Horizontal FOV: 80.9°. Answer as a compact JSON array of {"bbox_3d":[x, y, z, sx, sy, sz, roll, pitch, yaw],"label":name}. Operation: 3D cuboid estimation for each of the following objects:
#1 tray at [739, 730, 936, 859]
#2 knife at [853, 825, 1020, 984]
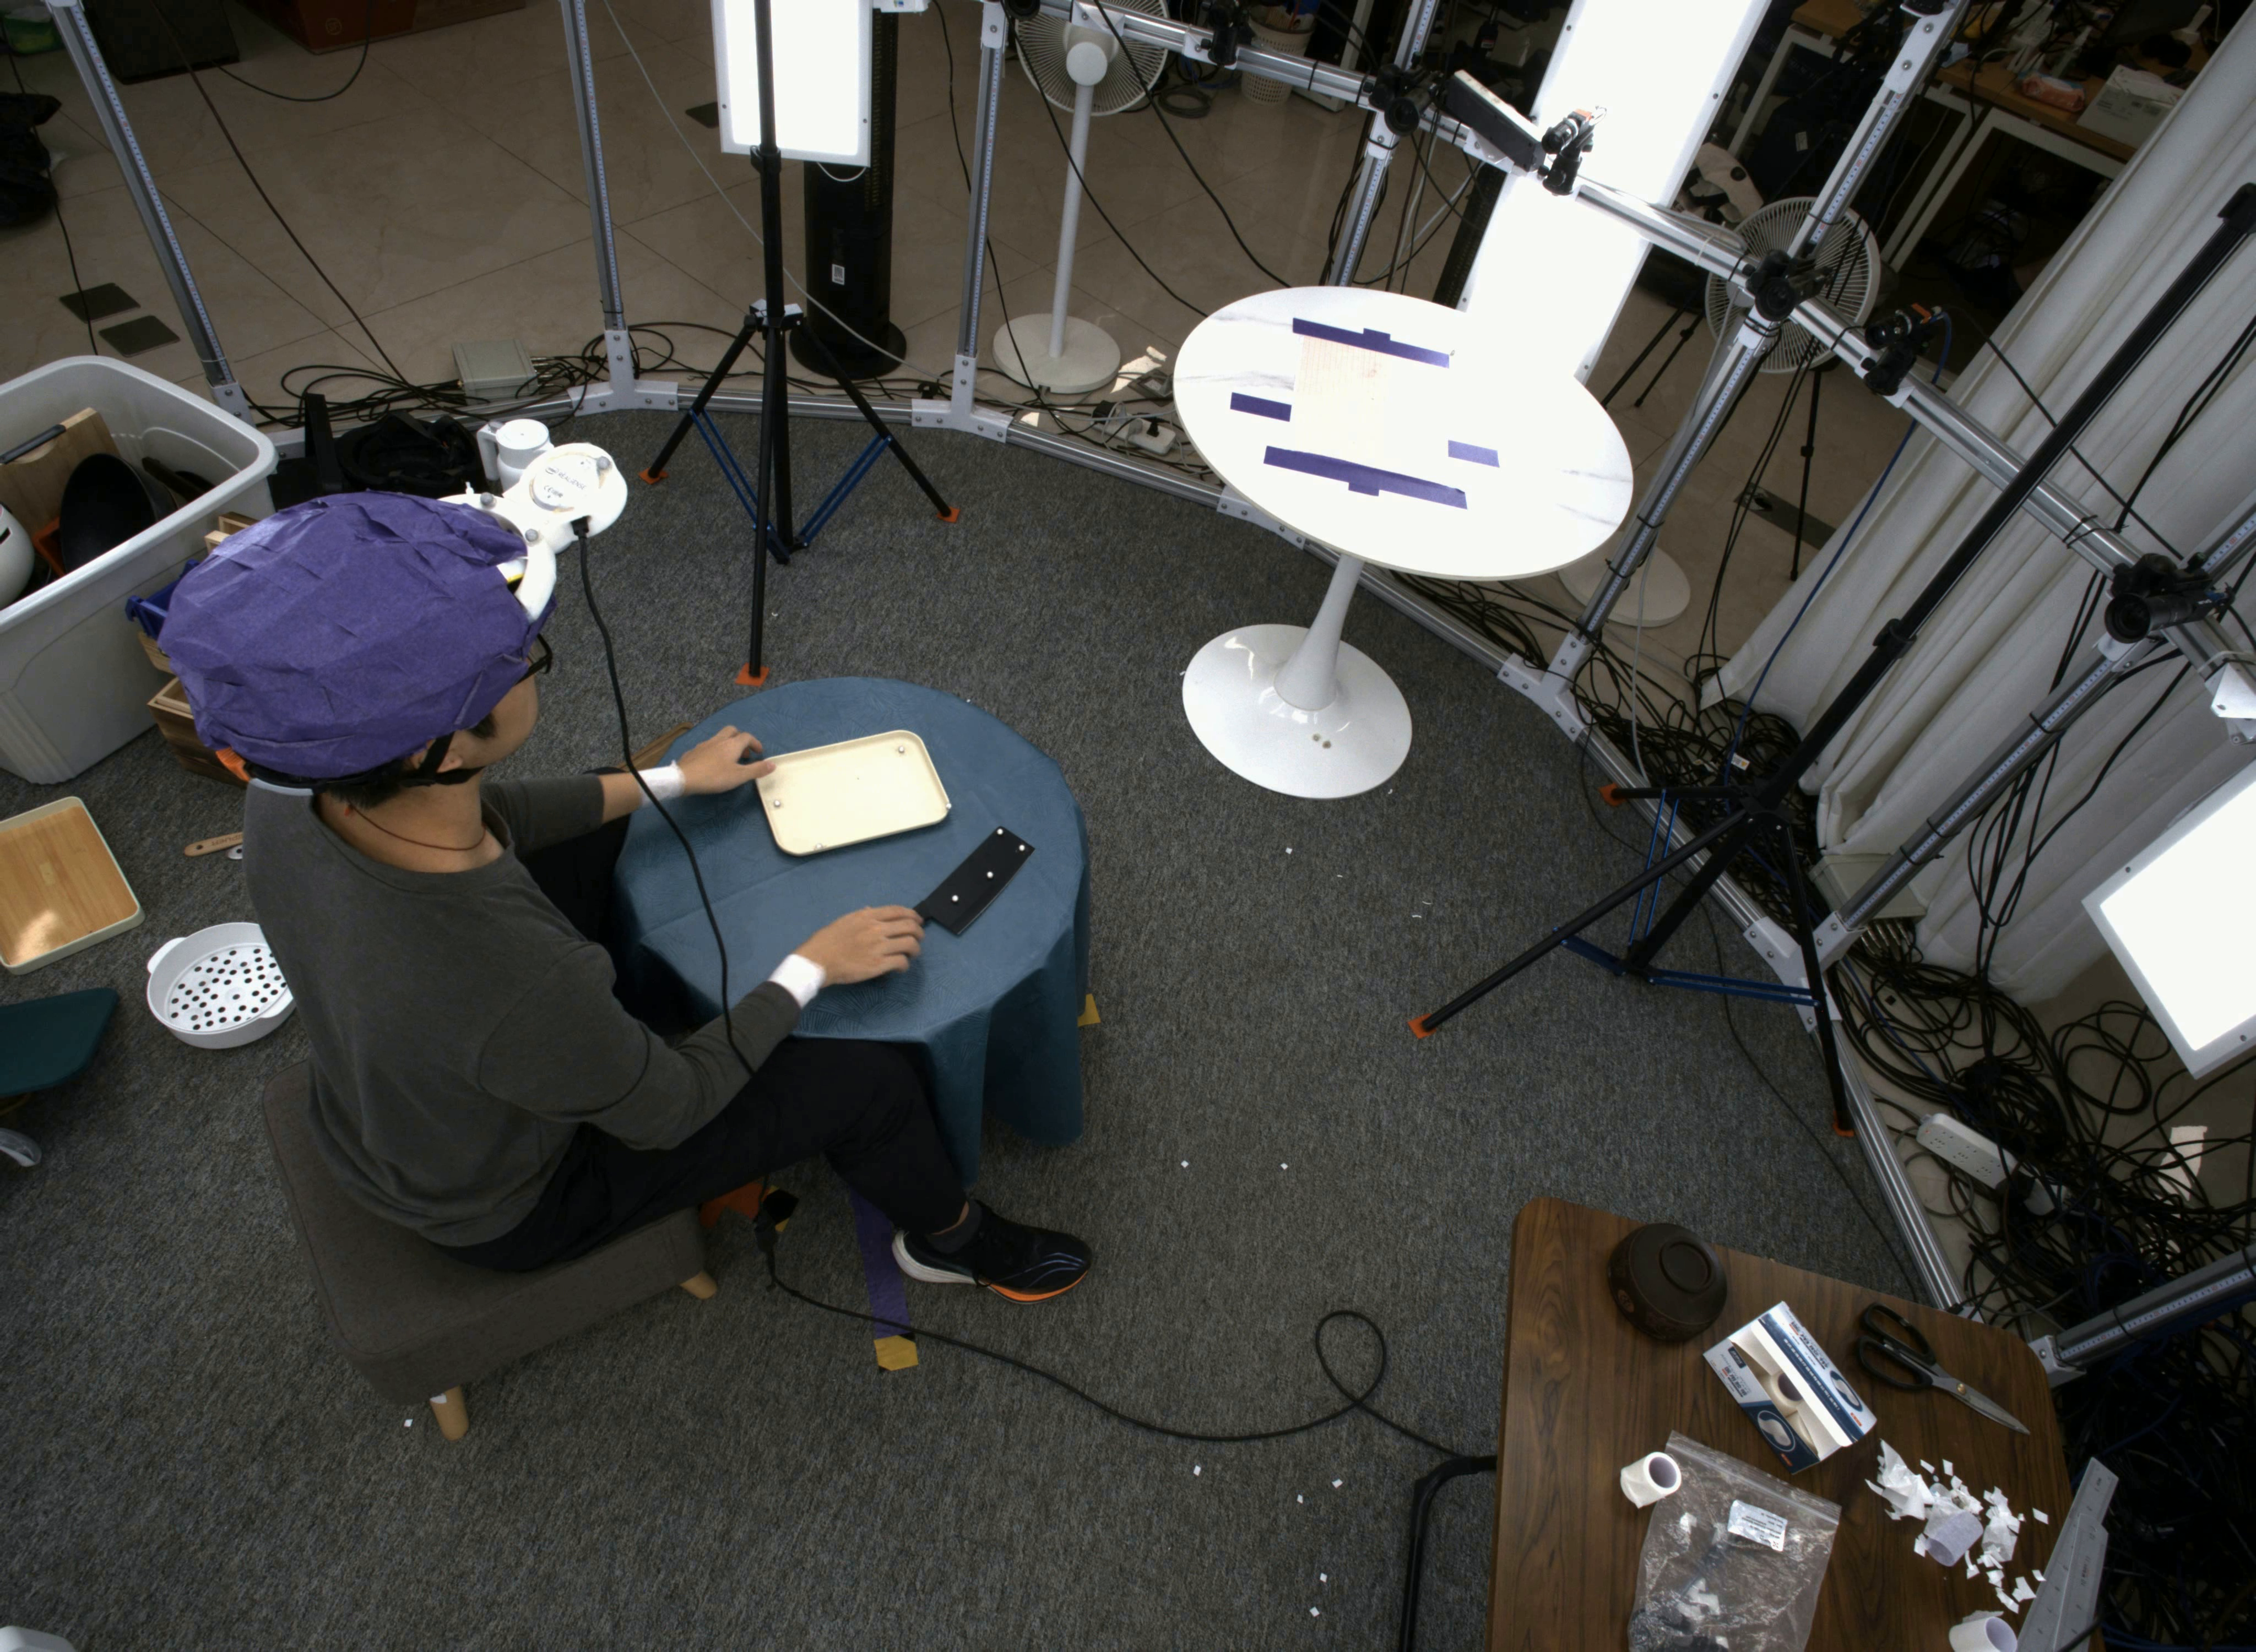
[{"bbox_3d":[-0.394,-0.044,1.764,0.241,0.018,0.167,-16,59,-24],"label":"tray"},{"bbox_3d":[-0.249,0.100,1.697,0.079,0.021,0.302,37,52,12],"label":"knife"}]
